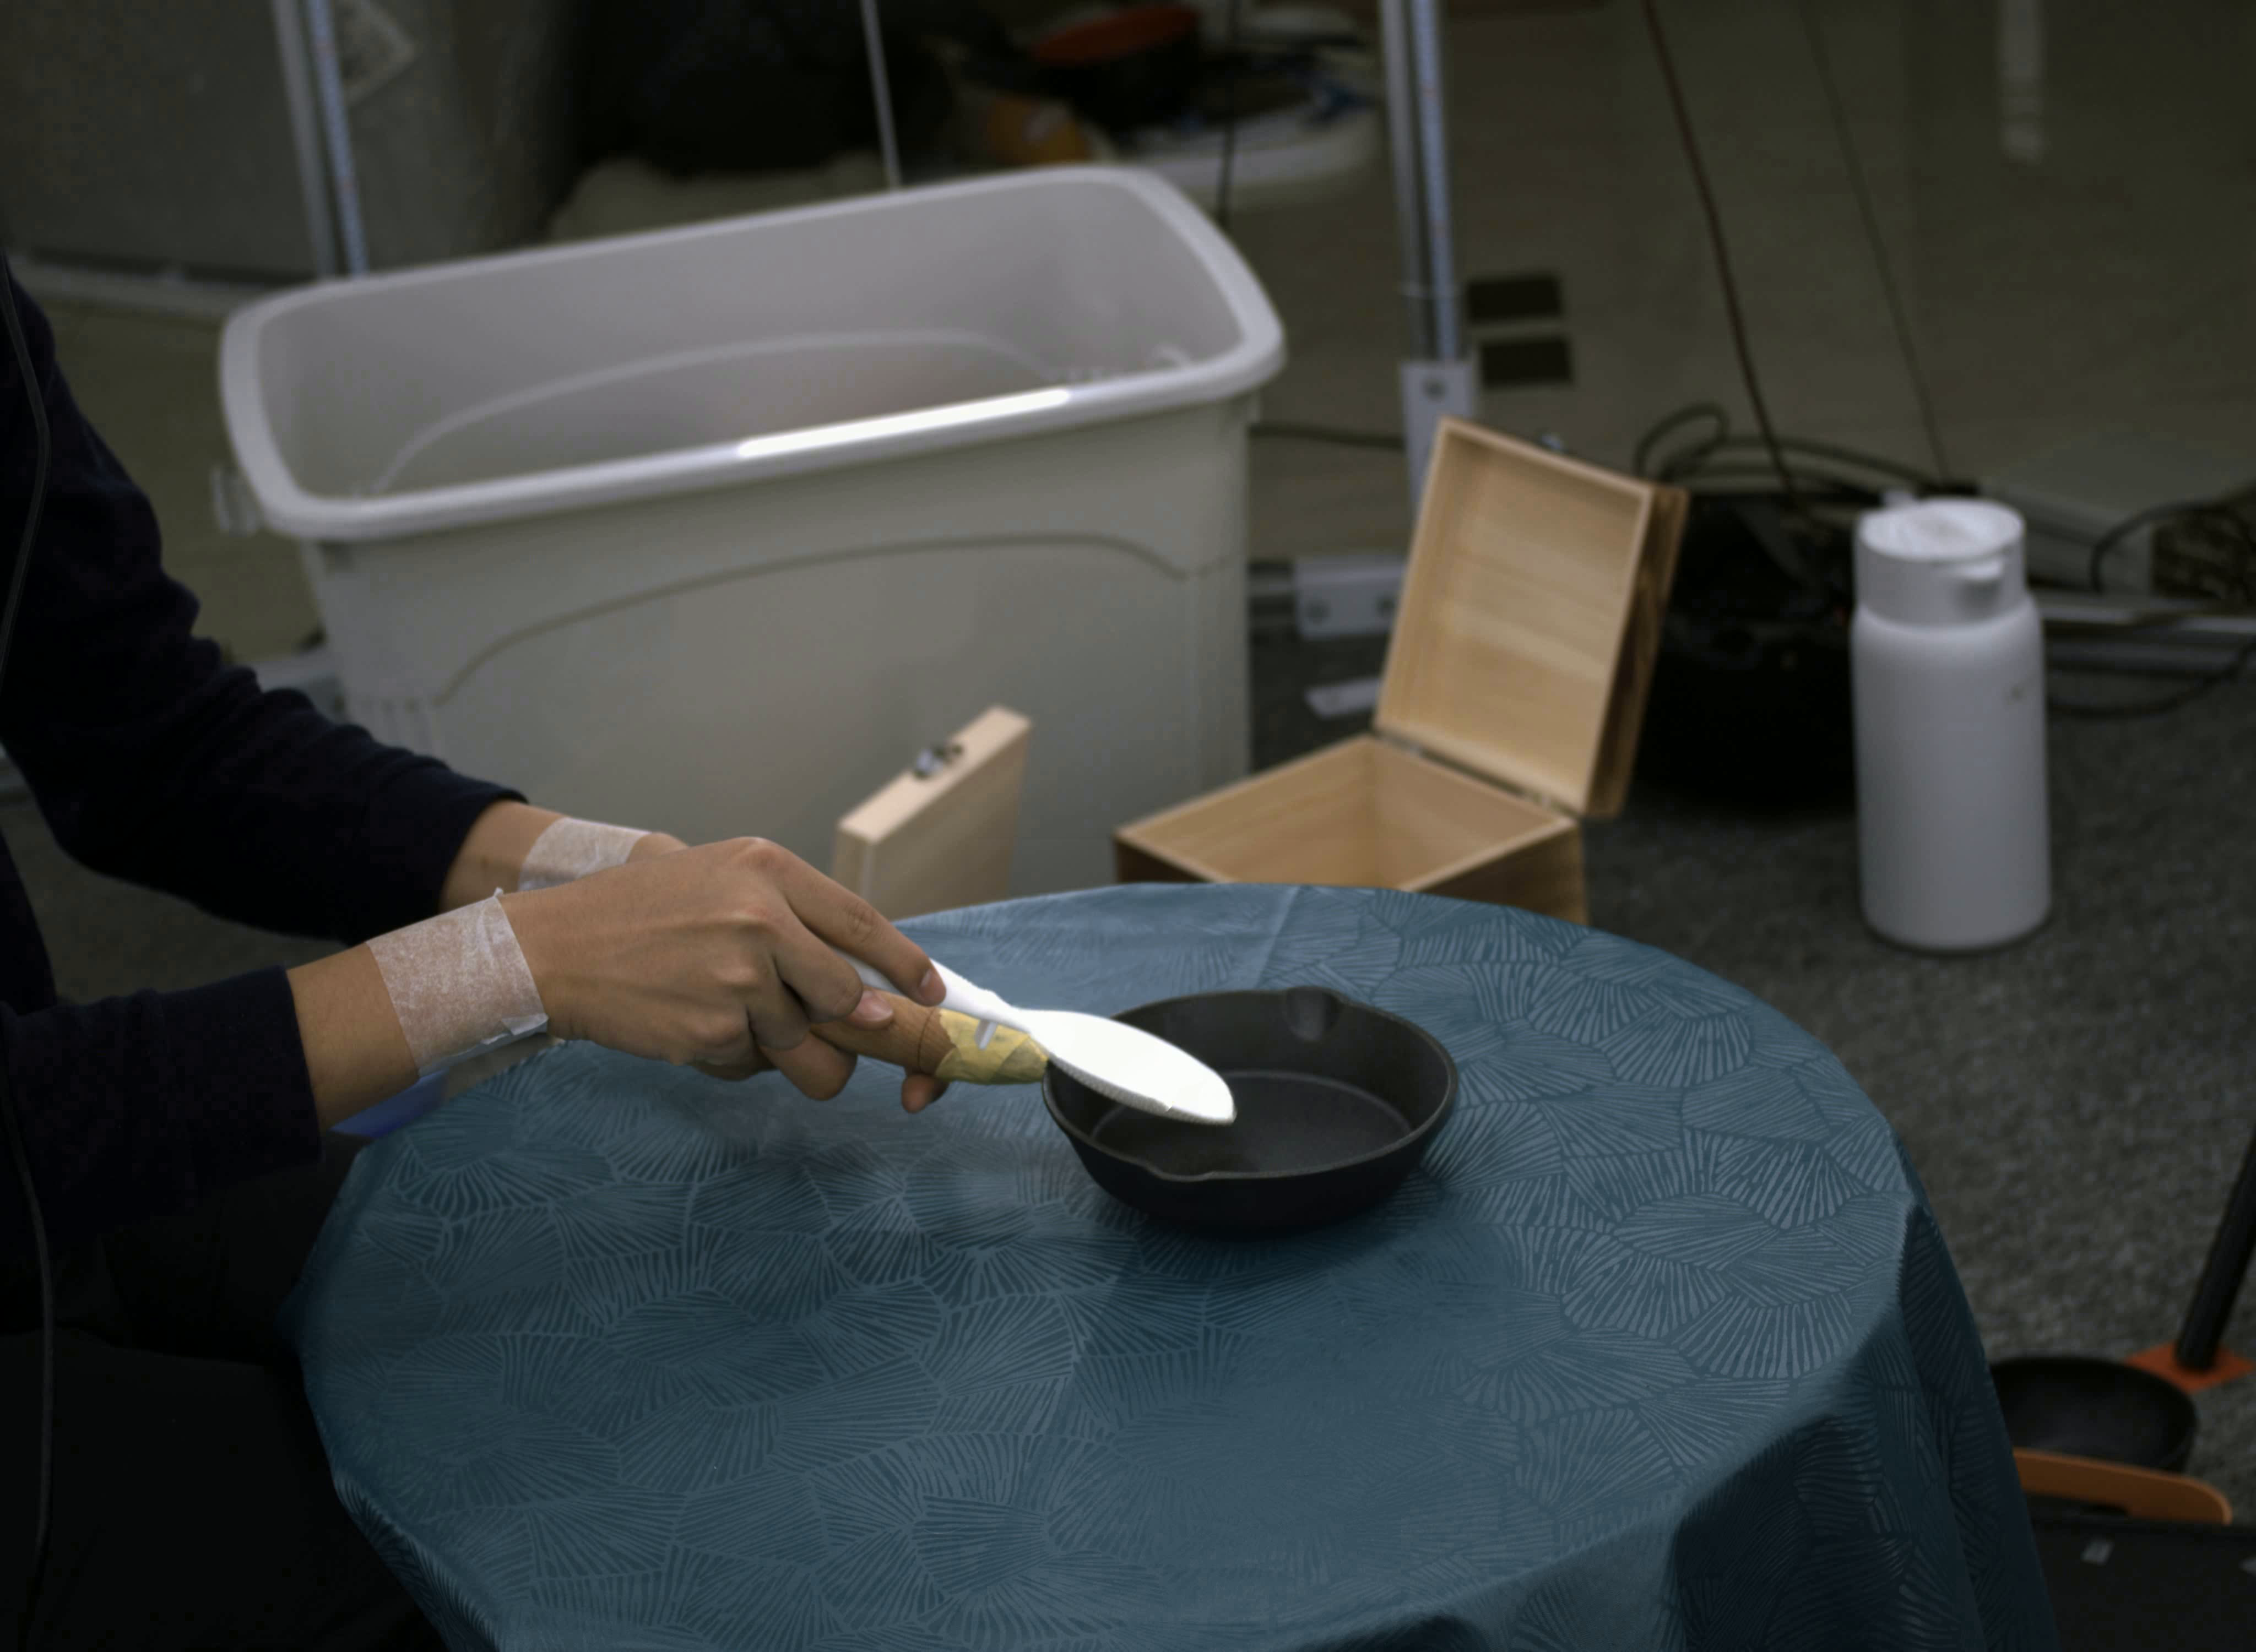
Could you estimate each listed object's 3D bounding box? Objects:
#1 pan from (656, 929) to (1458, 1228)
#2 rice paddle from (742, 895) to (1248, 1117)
[{"bbox_3d":[-0.032,0.089,2.169,0.323,0.050,0.167,10,27,20],"label":"pan"},{"bbox_3d":[-0.045,0.070,2.116,0.206,0.030,0.068,19,19,-20],"label":"rice paddle"}]
